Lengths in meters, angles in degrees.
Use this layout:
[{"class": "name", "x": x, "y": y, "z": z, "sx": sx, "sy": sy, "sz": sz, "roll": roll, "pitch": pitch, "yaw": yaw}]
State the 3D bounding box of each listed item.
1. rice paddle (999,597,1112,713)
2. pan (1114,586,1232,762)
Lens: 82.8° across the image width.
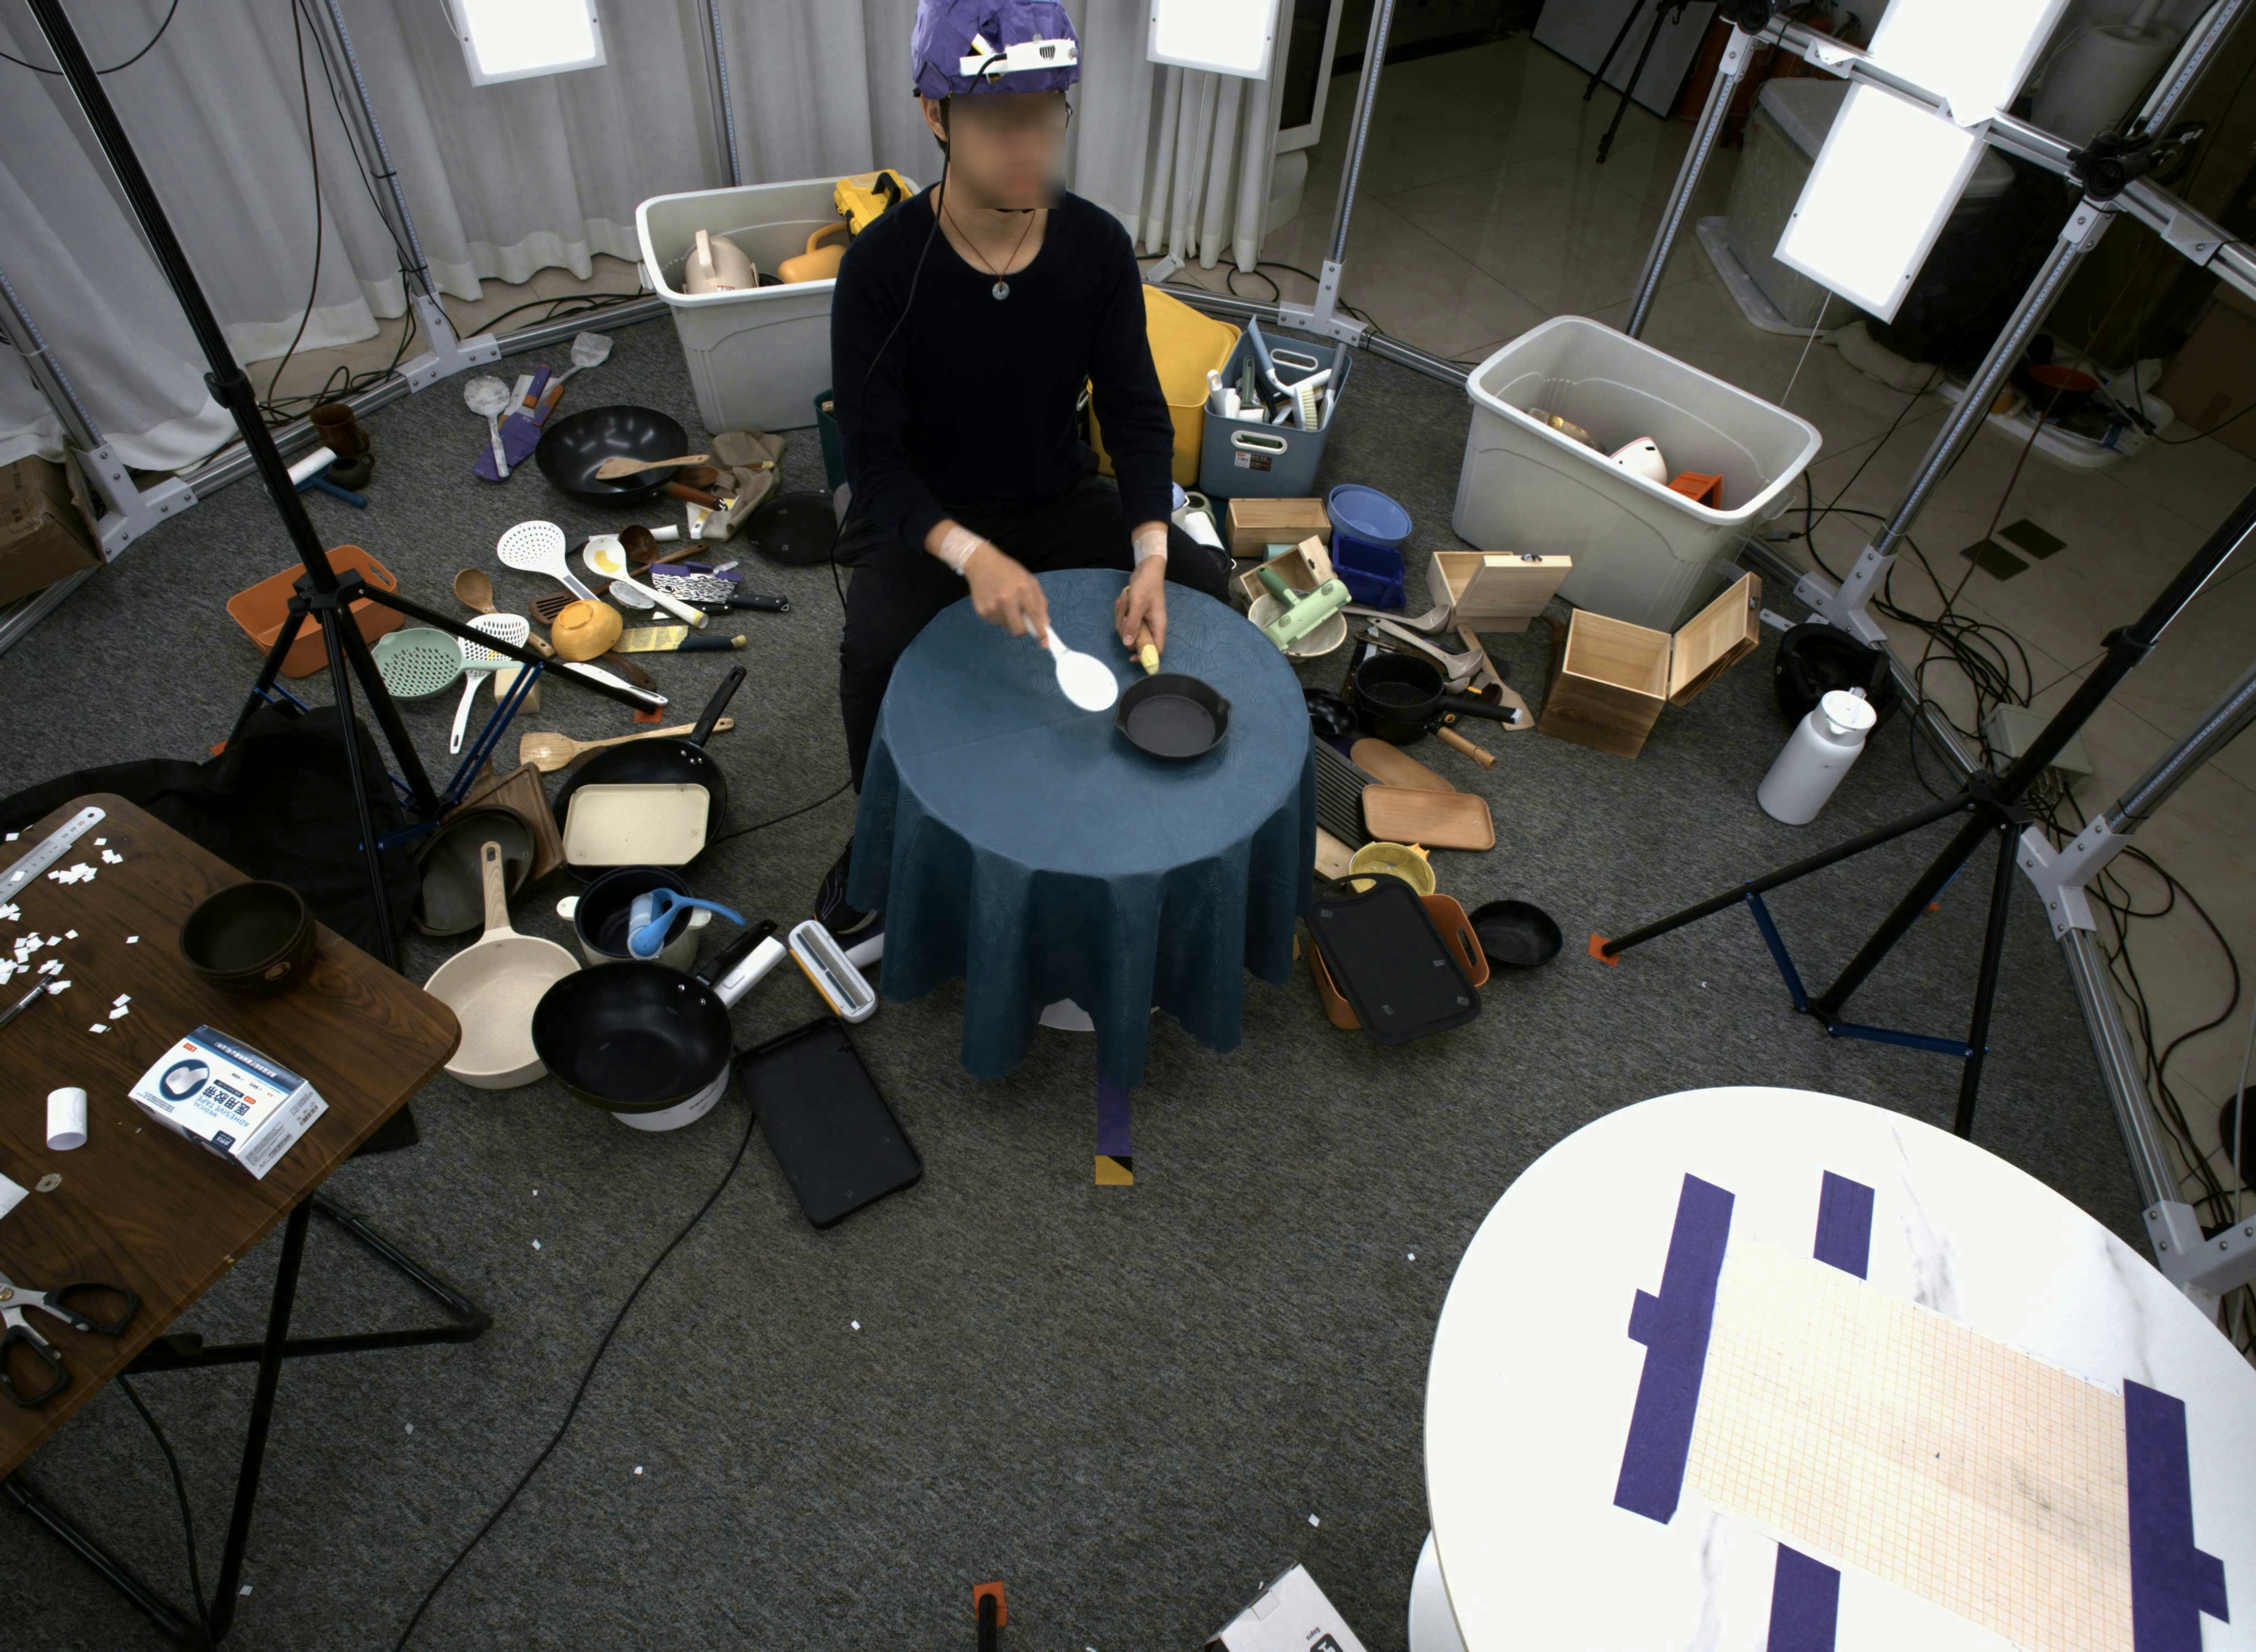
[{"class": "rice paddle", "x": -0.098, "y": -0.232, "z": 1.748, "sx": 0.069, "sy": 0.029, "sz": 0.207, "roll": -37, "pitch": 74, "yaw": -19}, {"class": "pan", "x": 0.042, "y": -0.217, "z": 1.823, "sx": 0.169, "sy": 0.048, "sz": 0.332, "roll": -8, "pitch": 53, "yaw": -11}]
